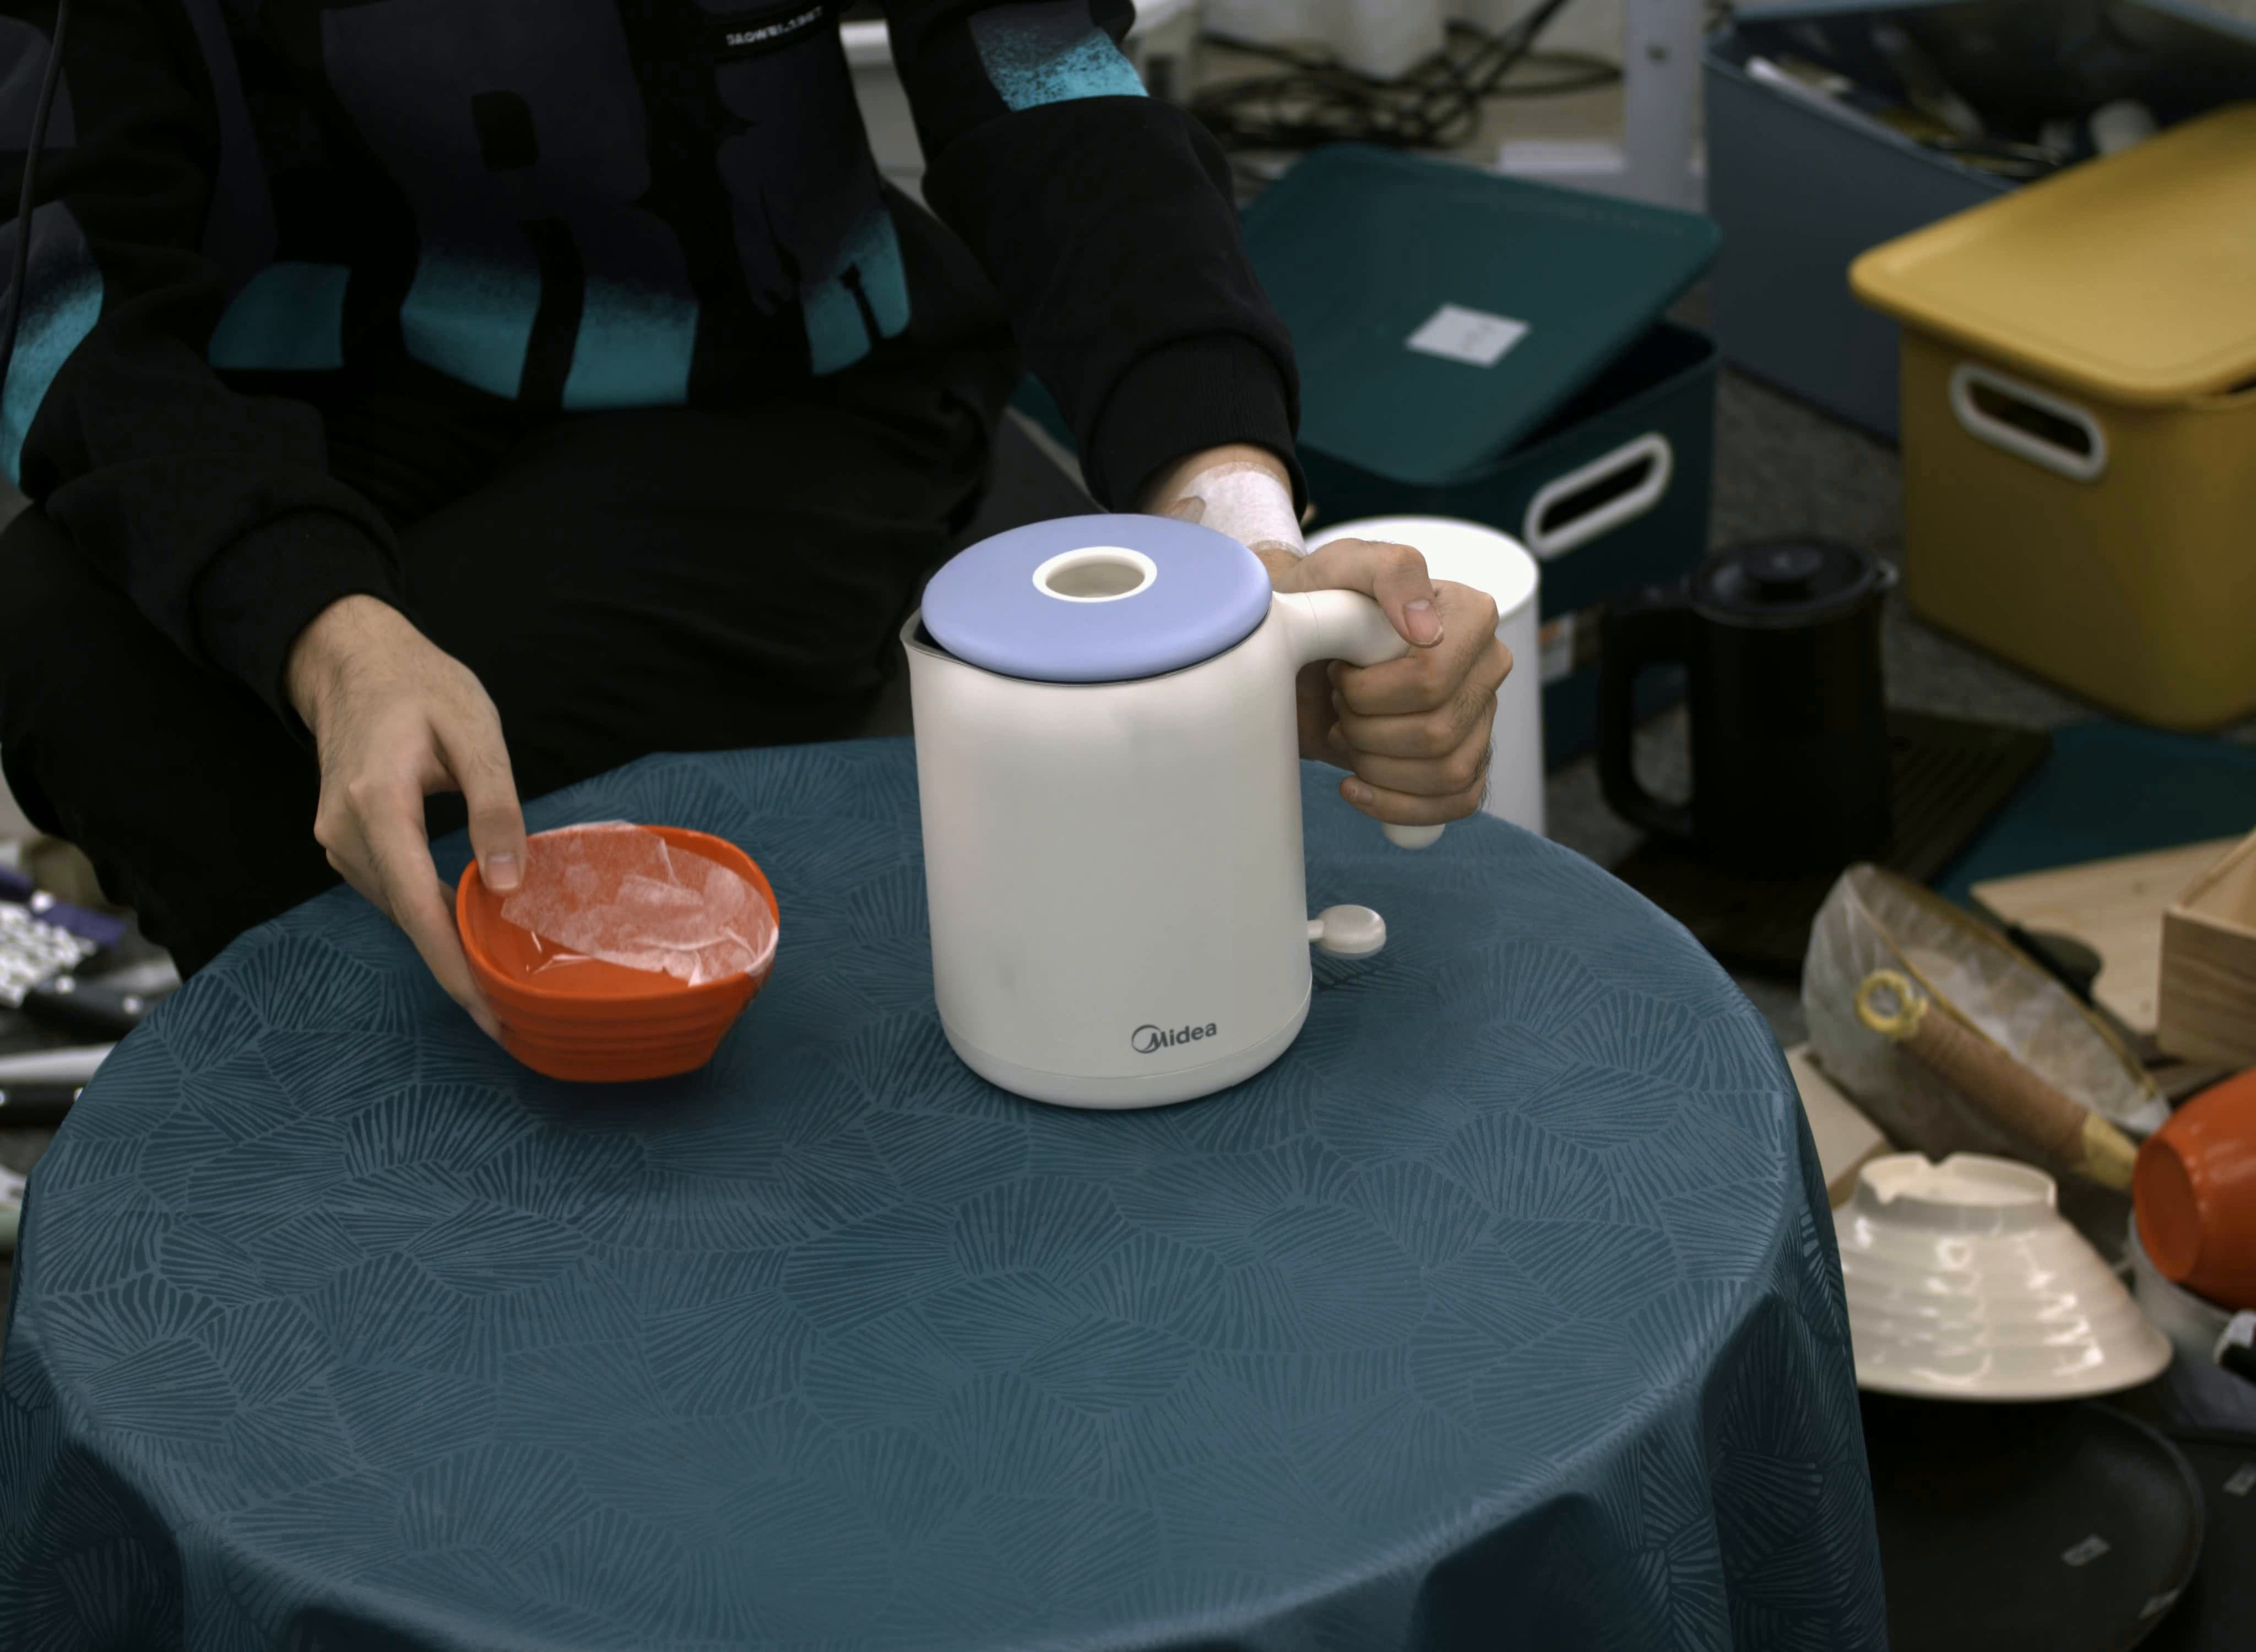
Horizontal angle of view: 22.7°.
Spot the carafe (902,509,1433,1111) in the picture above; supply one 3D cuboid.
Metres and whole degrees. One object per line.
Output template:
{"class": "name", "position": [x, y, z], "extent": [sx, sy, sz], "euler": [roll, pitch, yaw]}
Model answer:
{"class": "carafe", "position": [0.016, -0.010, 1.930], "extent": [0.191, 0.180, 0.133], "euler": [-9, 29, -17]}

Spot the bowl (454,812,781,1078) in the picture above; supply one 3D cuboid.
{"class": "bowl", "position": [-0.175, 0.046, 1.928], "extent": [0.118, 0.050, 0.121], "euler": [2, 33, -1]}
